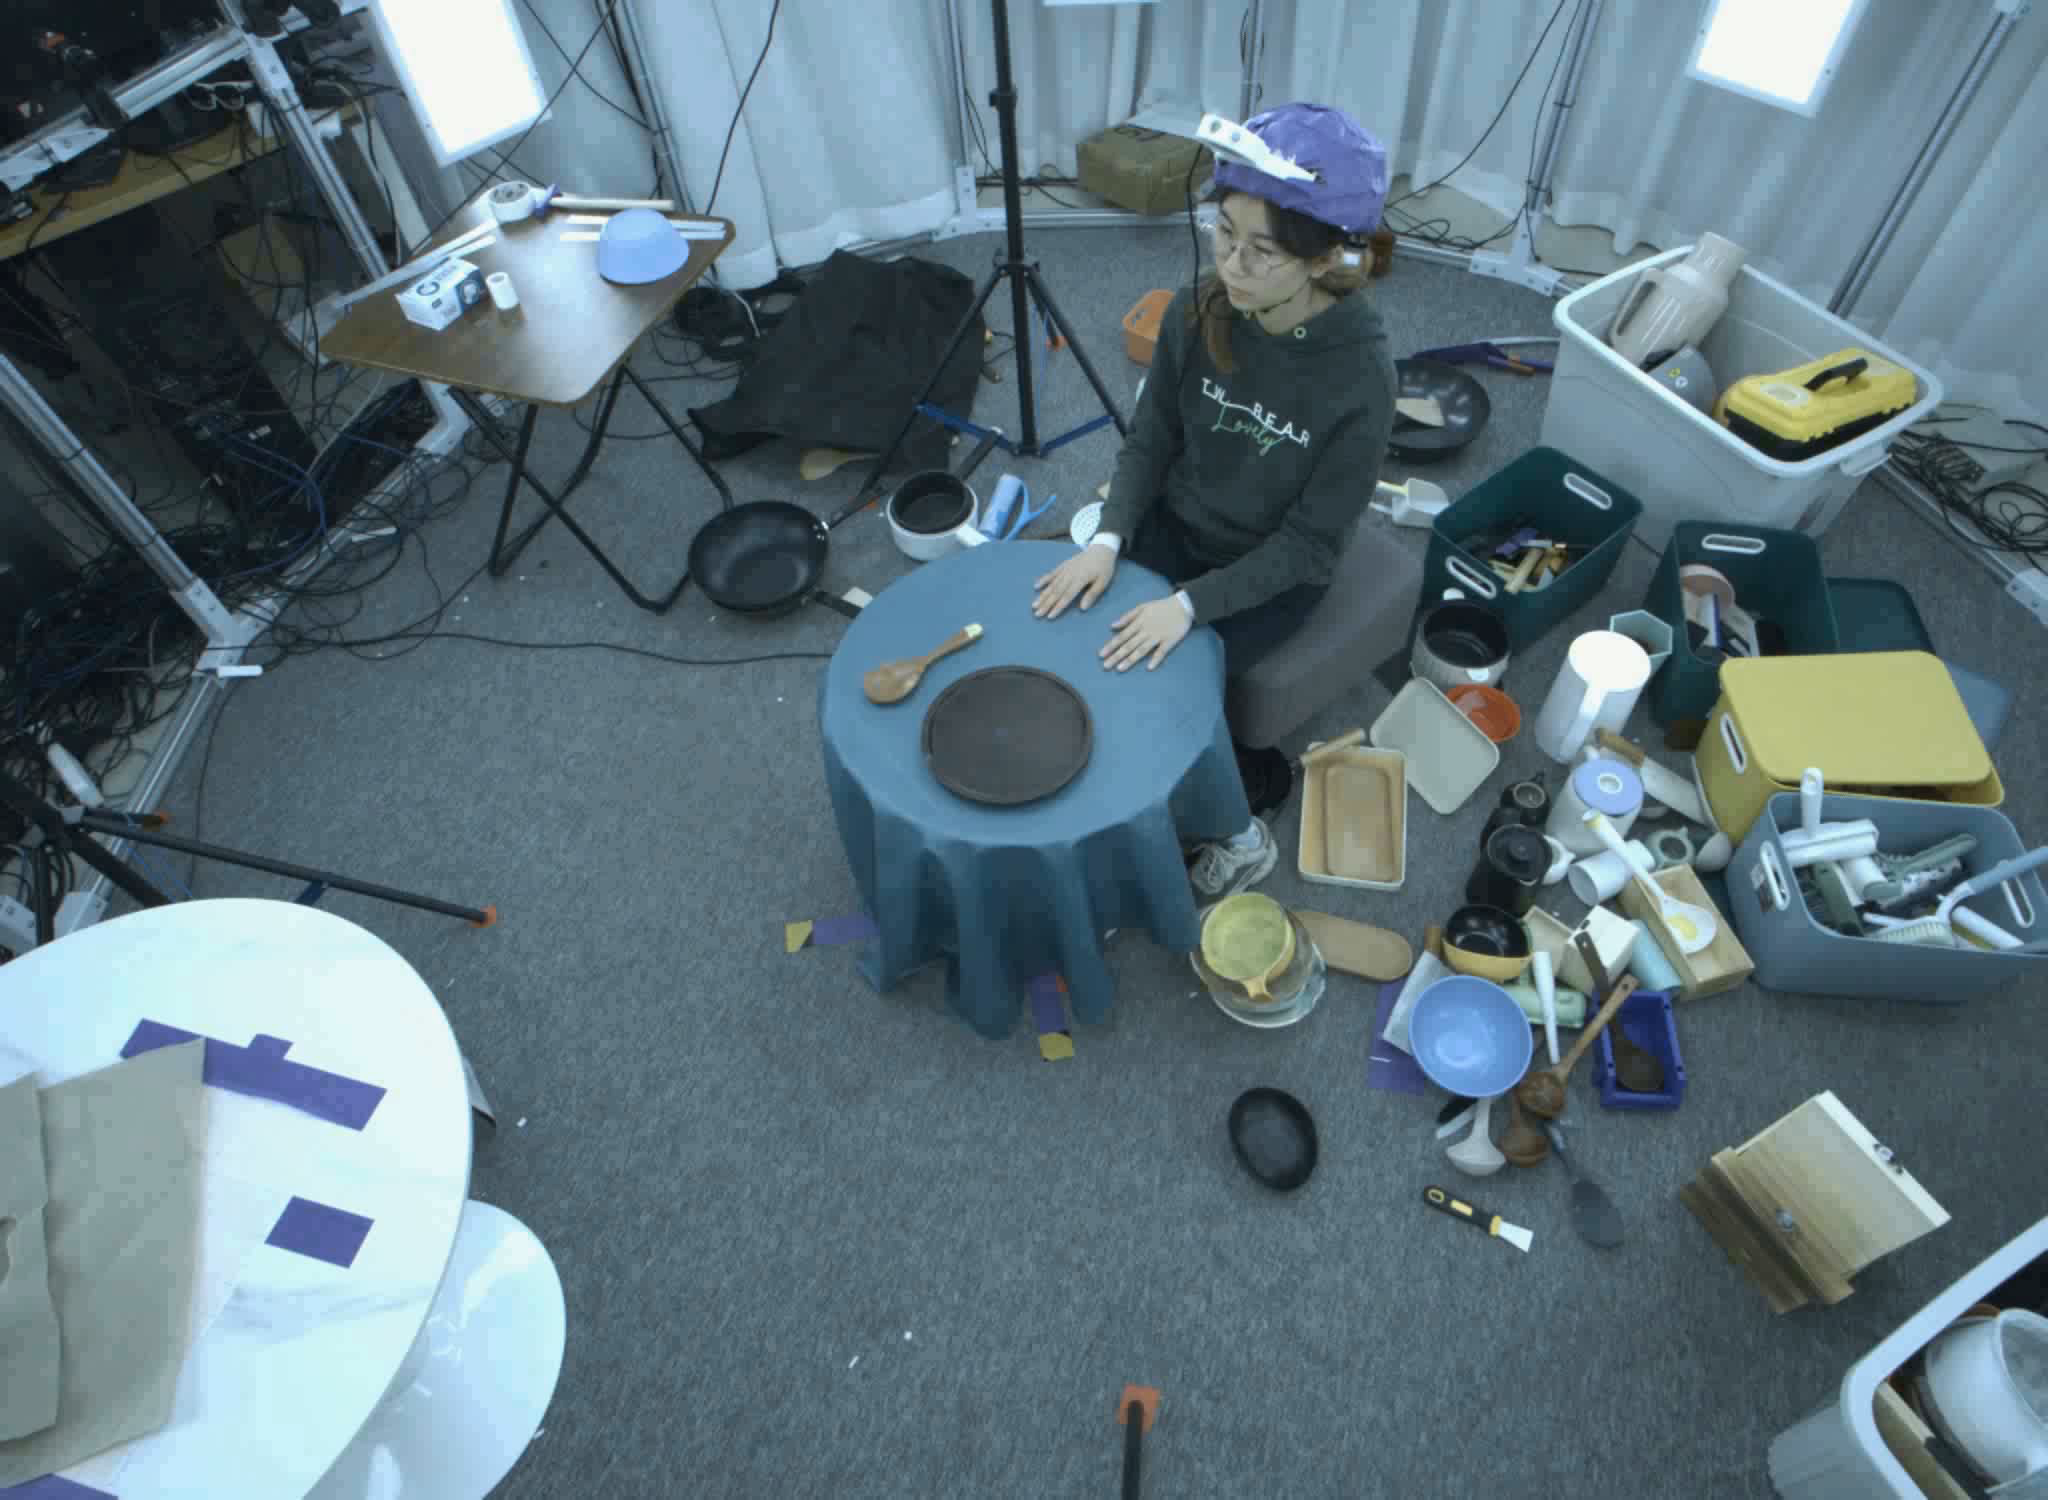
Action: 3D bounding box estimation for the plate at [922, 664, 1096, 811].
[{"bbox_3d":[-0.022,-0.017,1.797,0.254,0.029,0.252,0,56,2],"label":"plate"}]

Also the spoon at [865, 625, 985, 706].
[{"bbox_3d":[-0.149,-0.132,1.884,0.217,0.017,0.074,-35,61,-20],"label":"spoon"}]
